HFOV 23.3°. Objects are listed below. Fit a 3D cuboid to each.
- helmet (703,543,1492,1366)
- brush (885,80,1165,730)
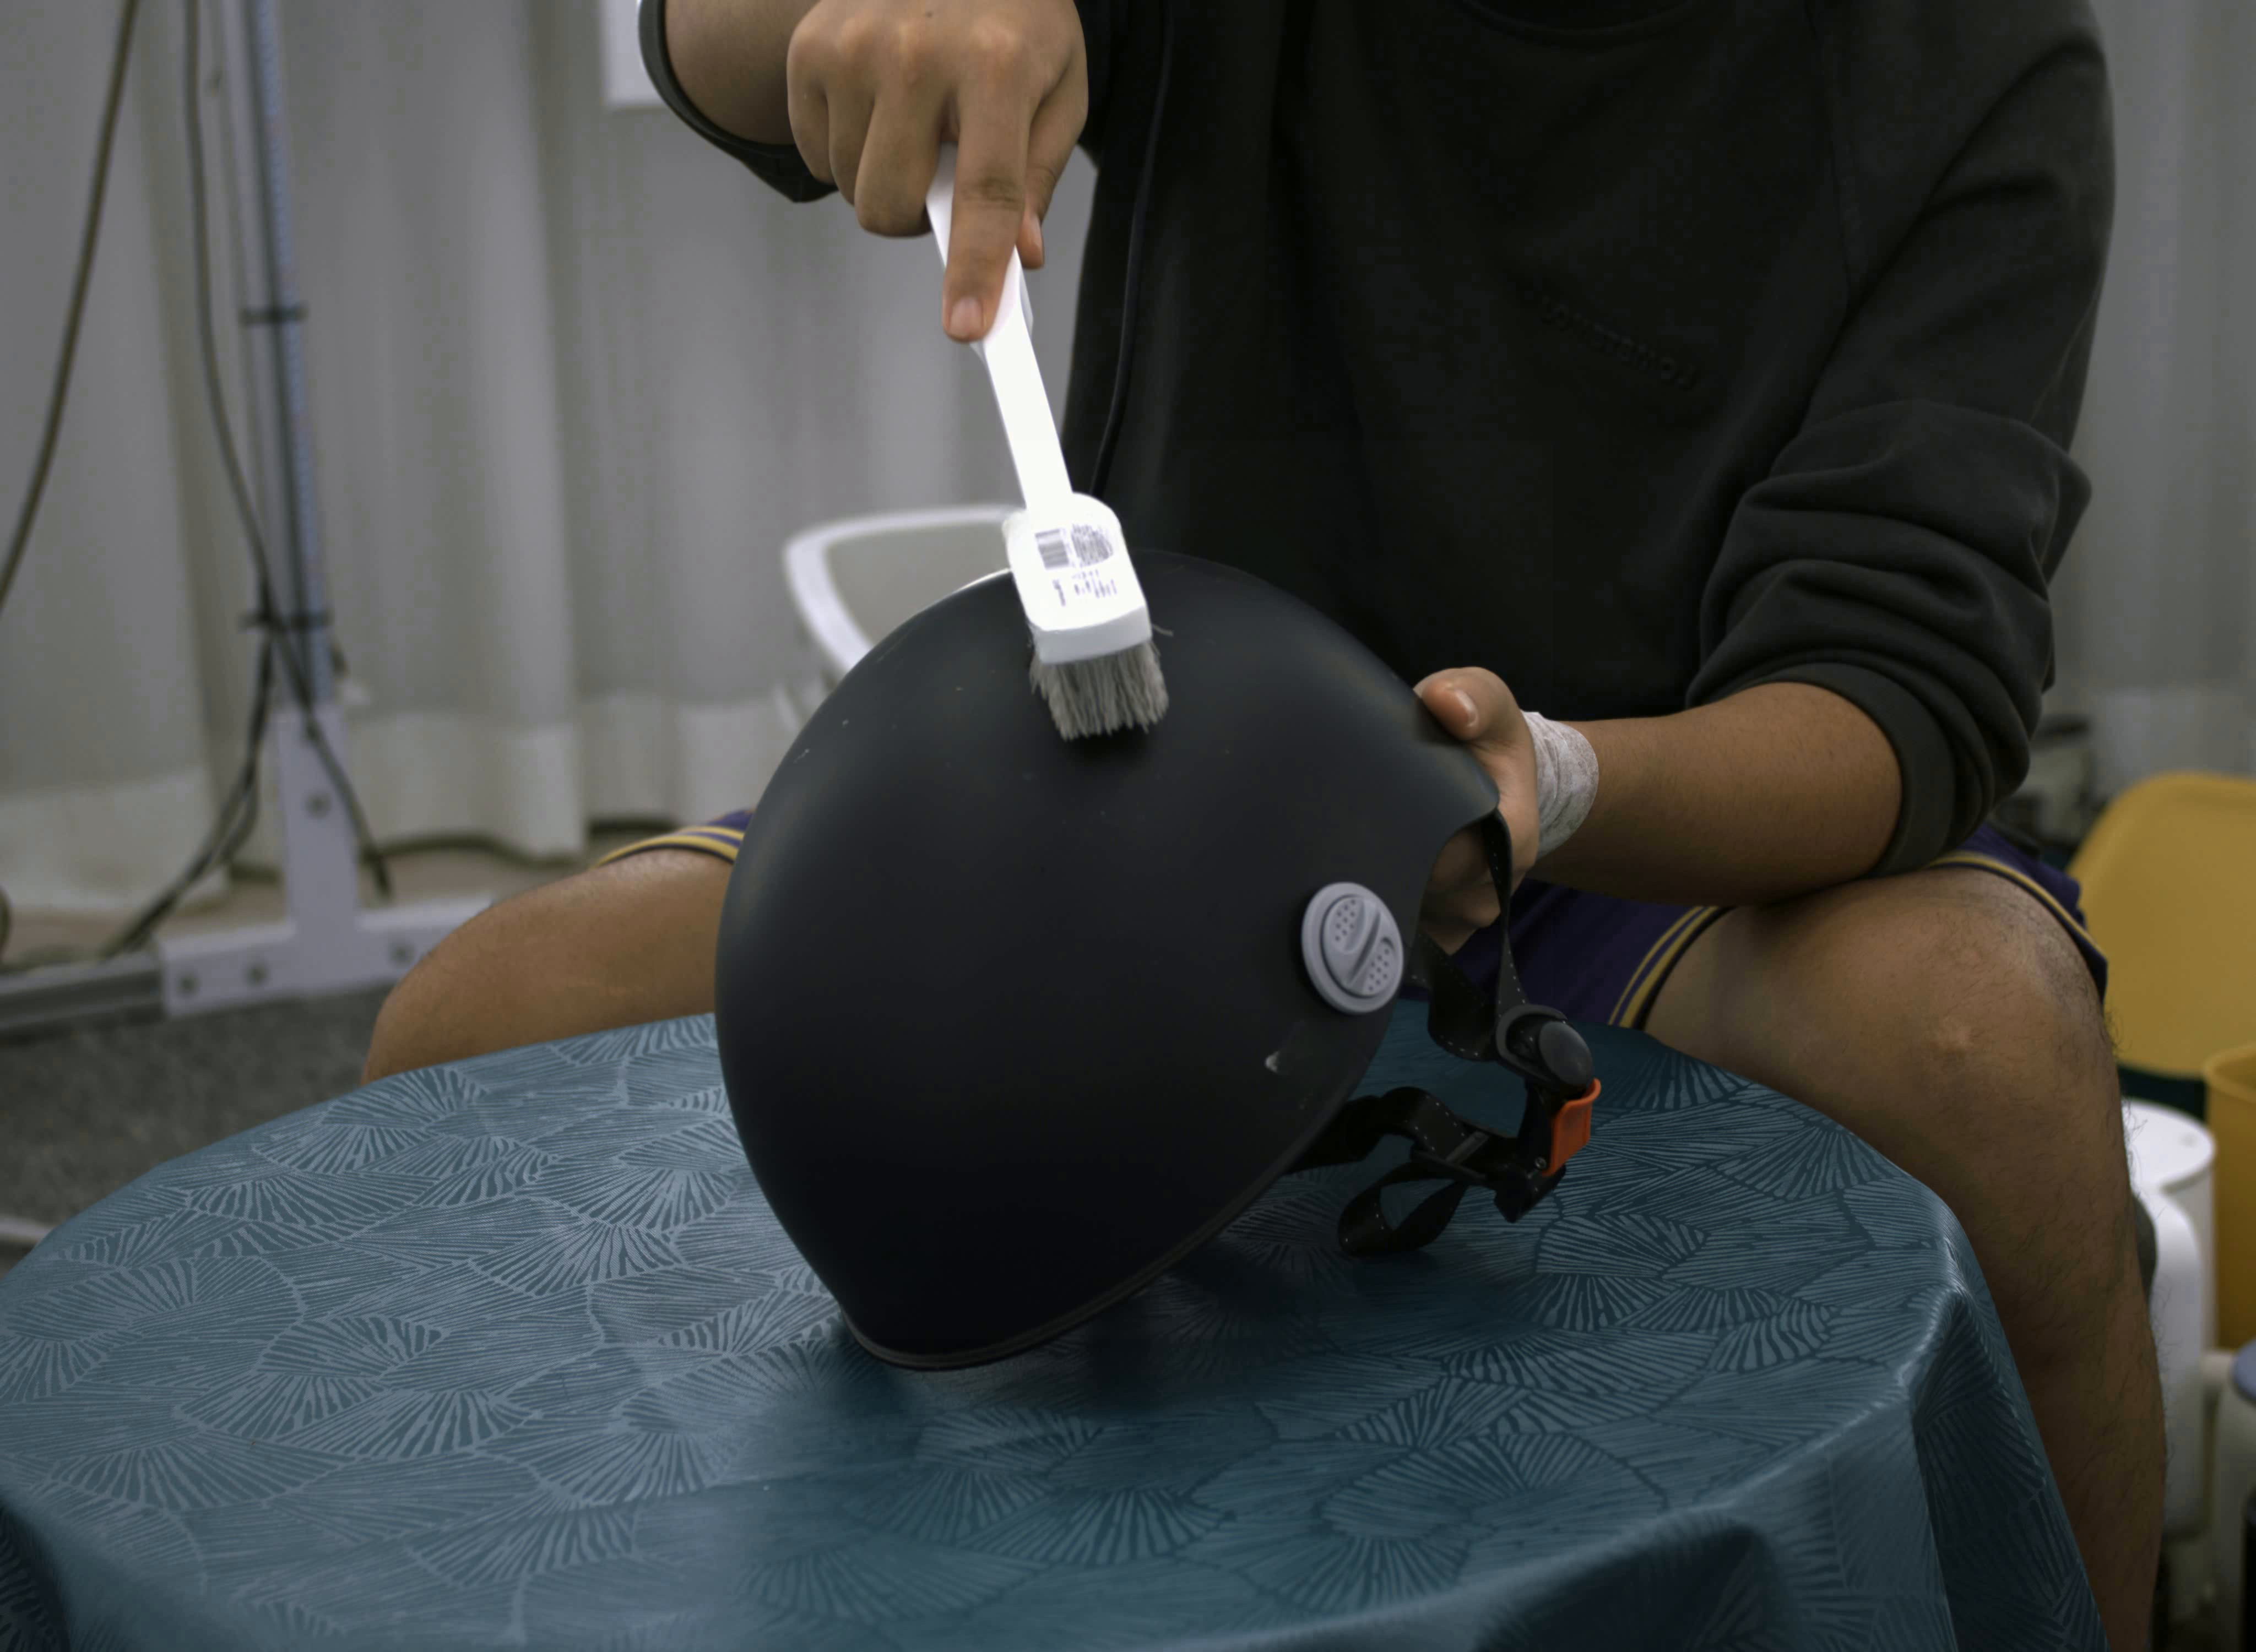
[{"bbox_3d":[-0.026,0.017,1.613,0.229,0.165,0.275,-22,21,38],"label":"helmet"},{"bbox_3d":[-0.032,-0.123,1.590,0.034,0.049,0.247,-15,49,-4],"label":"brush"}]
